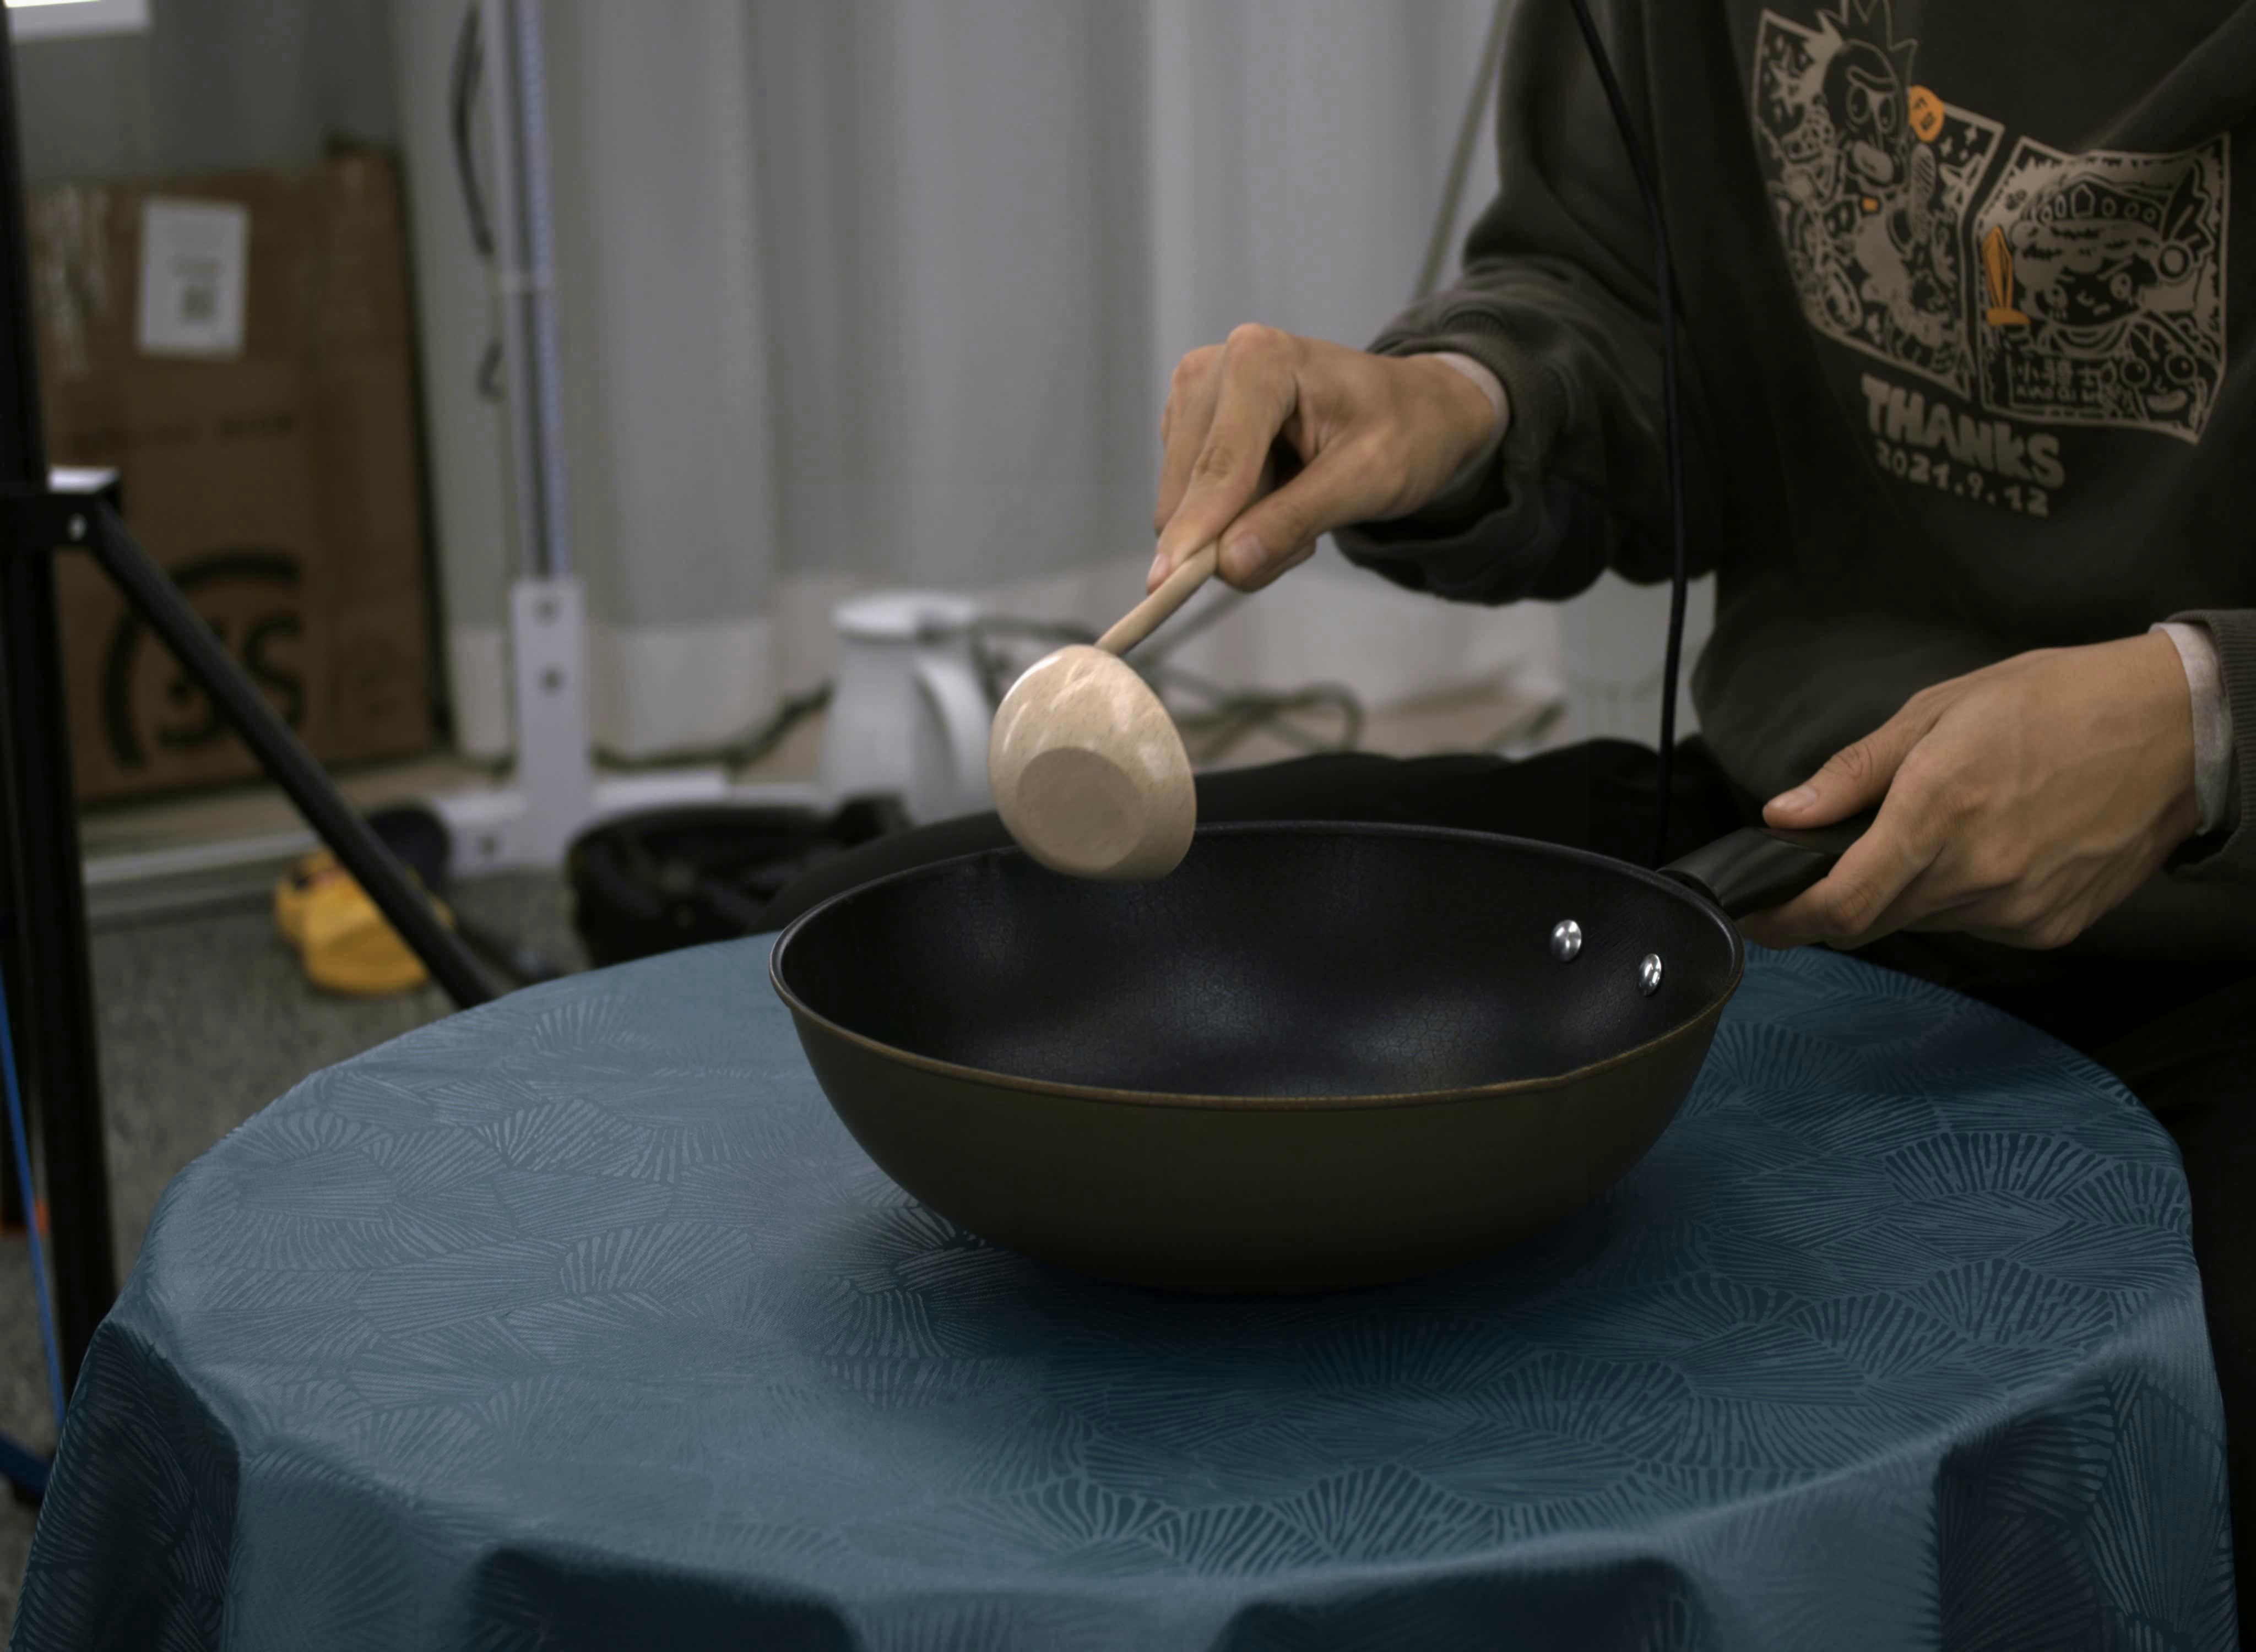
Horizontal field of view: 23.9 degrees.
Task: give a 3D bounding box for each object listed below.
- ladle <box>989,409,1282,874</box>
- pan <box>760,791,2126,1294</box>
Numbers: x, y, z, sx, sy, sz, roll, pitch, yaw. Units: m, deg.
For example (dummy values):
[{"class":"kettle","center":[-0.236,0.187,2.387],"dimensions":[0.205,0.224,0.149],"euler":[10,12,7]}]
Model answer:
[{"class":"ladle","center":[0.031,-0.067,1.643],"dimensions":[0.074,0.072,0.252],"euler":[6,32,23]},{"class":"pan","center":[0.111,0.058,1.573],"dimensions":[0.453,0.087,0.294],"euler":[-9,17,-30]}]
